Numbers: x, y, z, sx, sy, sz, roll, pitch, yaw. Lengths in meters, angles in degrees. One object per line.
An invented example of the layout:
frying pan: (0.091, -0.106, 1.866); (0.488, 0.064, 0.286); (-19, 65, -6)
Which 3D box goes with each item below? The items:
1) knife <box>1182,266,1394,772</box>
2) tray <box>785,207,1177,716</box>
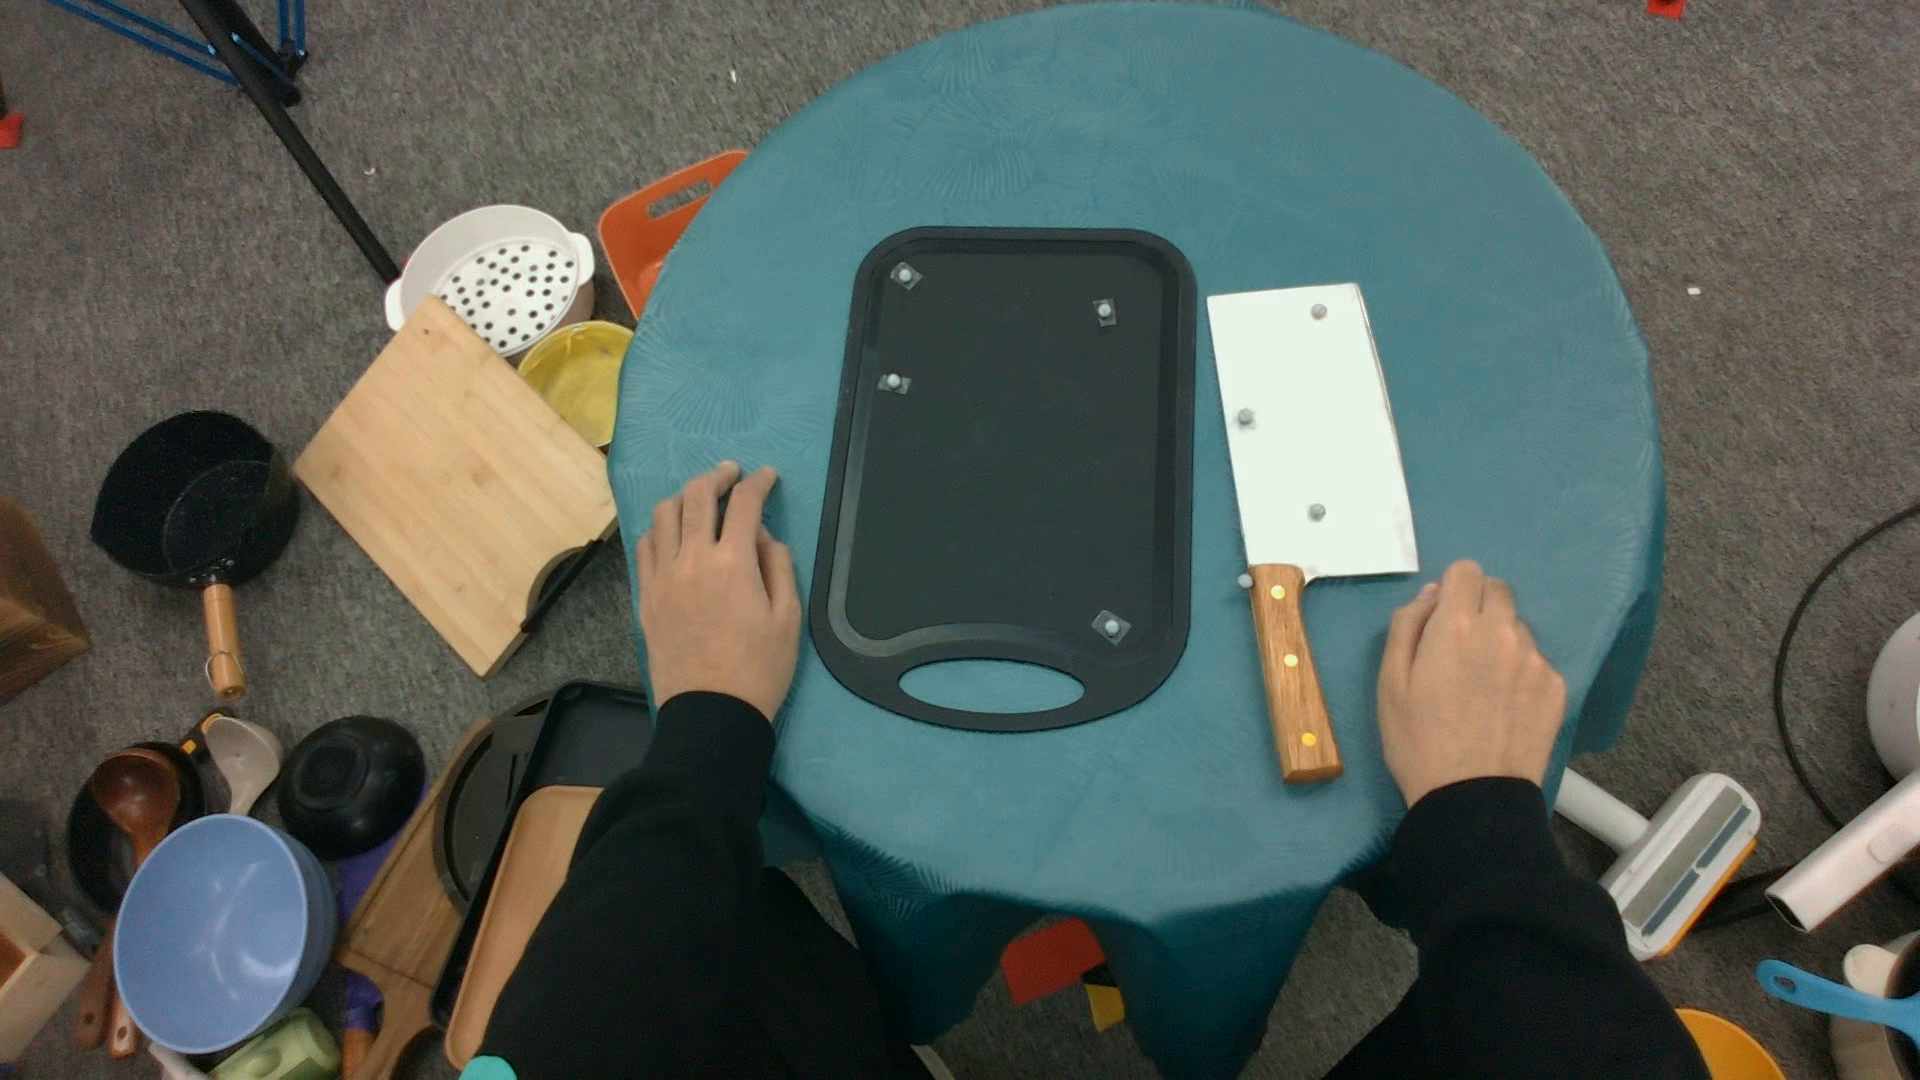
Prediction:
knife: (0.185, -0.025, 0.753); (0.093, 0.021, 0.307); (-4, 64, 1)
tray: (0.016, -0.057, 0.785); (0.211, 0.010, 0.326); (3, 66, 6)
